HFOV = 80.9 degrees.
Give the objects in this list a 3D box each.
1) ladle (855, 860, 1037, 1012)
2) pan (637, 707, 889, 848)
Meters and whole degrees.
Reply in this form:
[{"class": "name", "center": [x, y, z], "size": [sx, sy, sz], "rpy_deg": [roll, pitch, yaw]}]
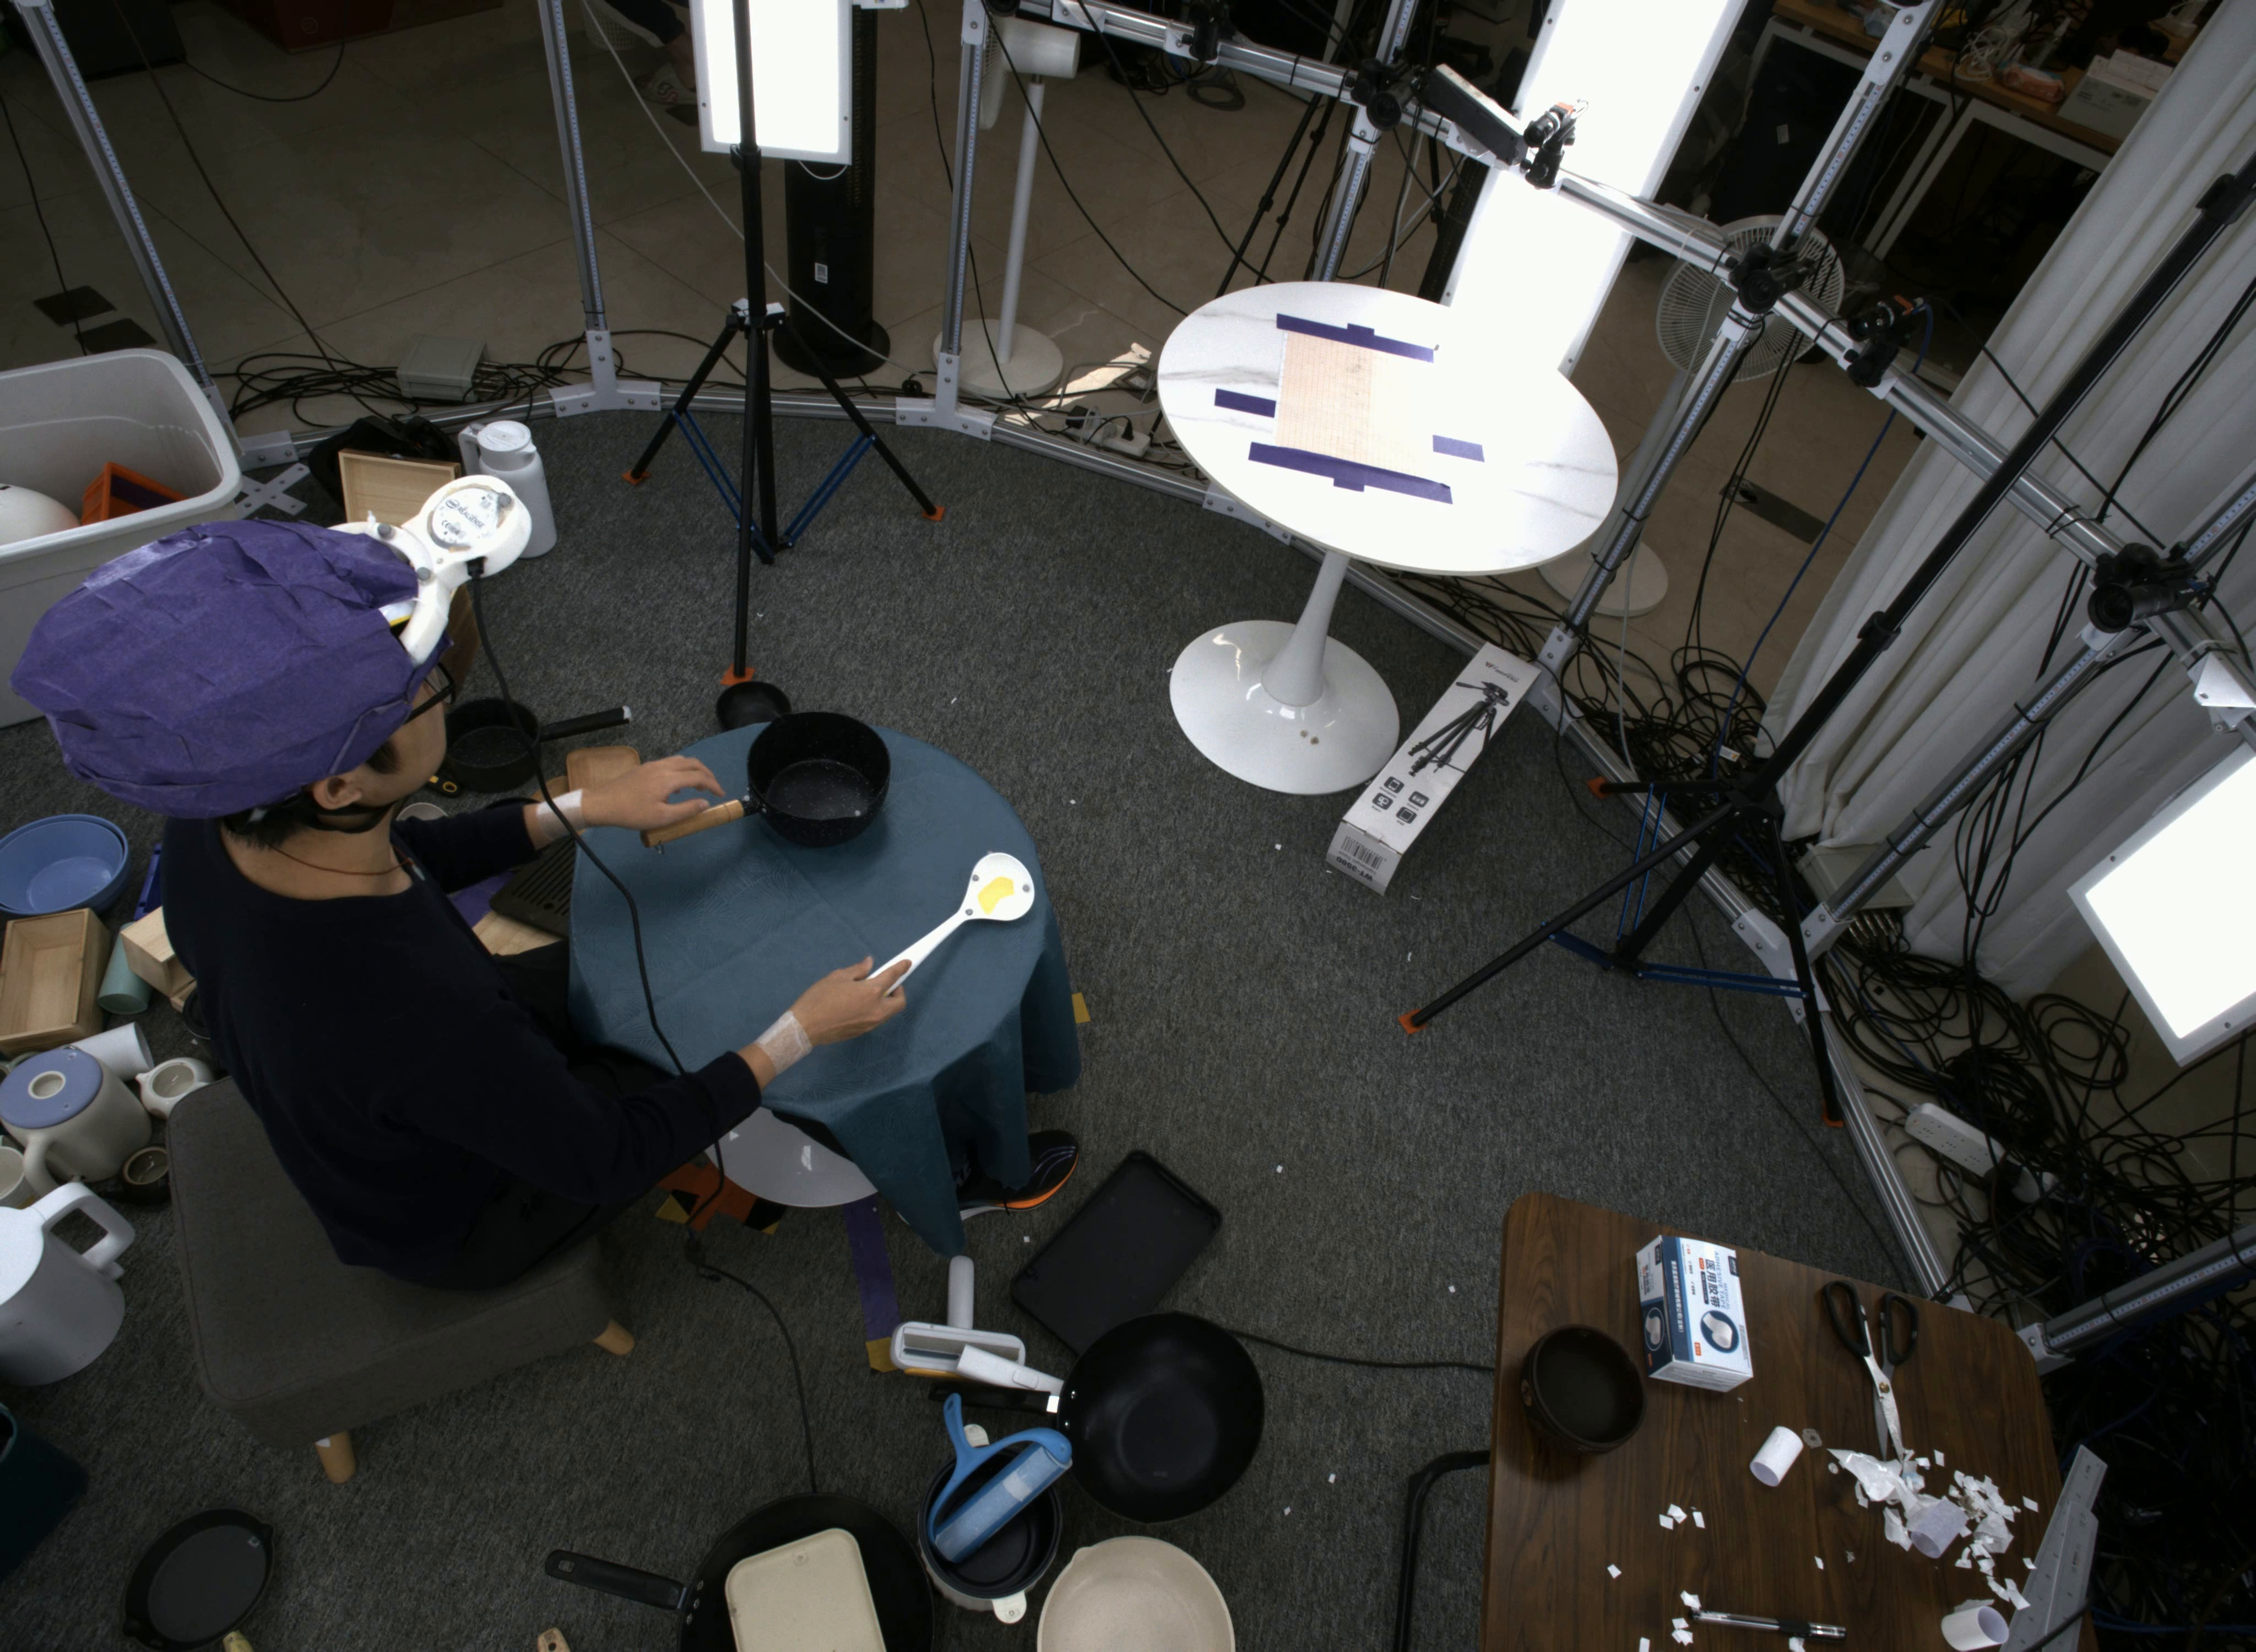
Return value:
[{"class": "ladle", "center": [-0.219, 0.135, 1.597], "size": [0.293, 0.068, 0.092], "rpy_deg": [-40, 110, -51]}, {"class": "pan", "center": [-0.465, -0.030, 1.655], "size": [0.344, 0.110, 0.203], "rpy_deg": [-31, 67, -33]}]
